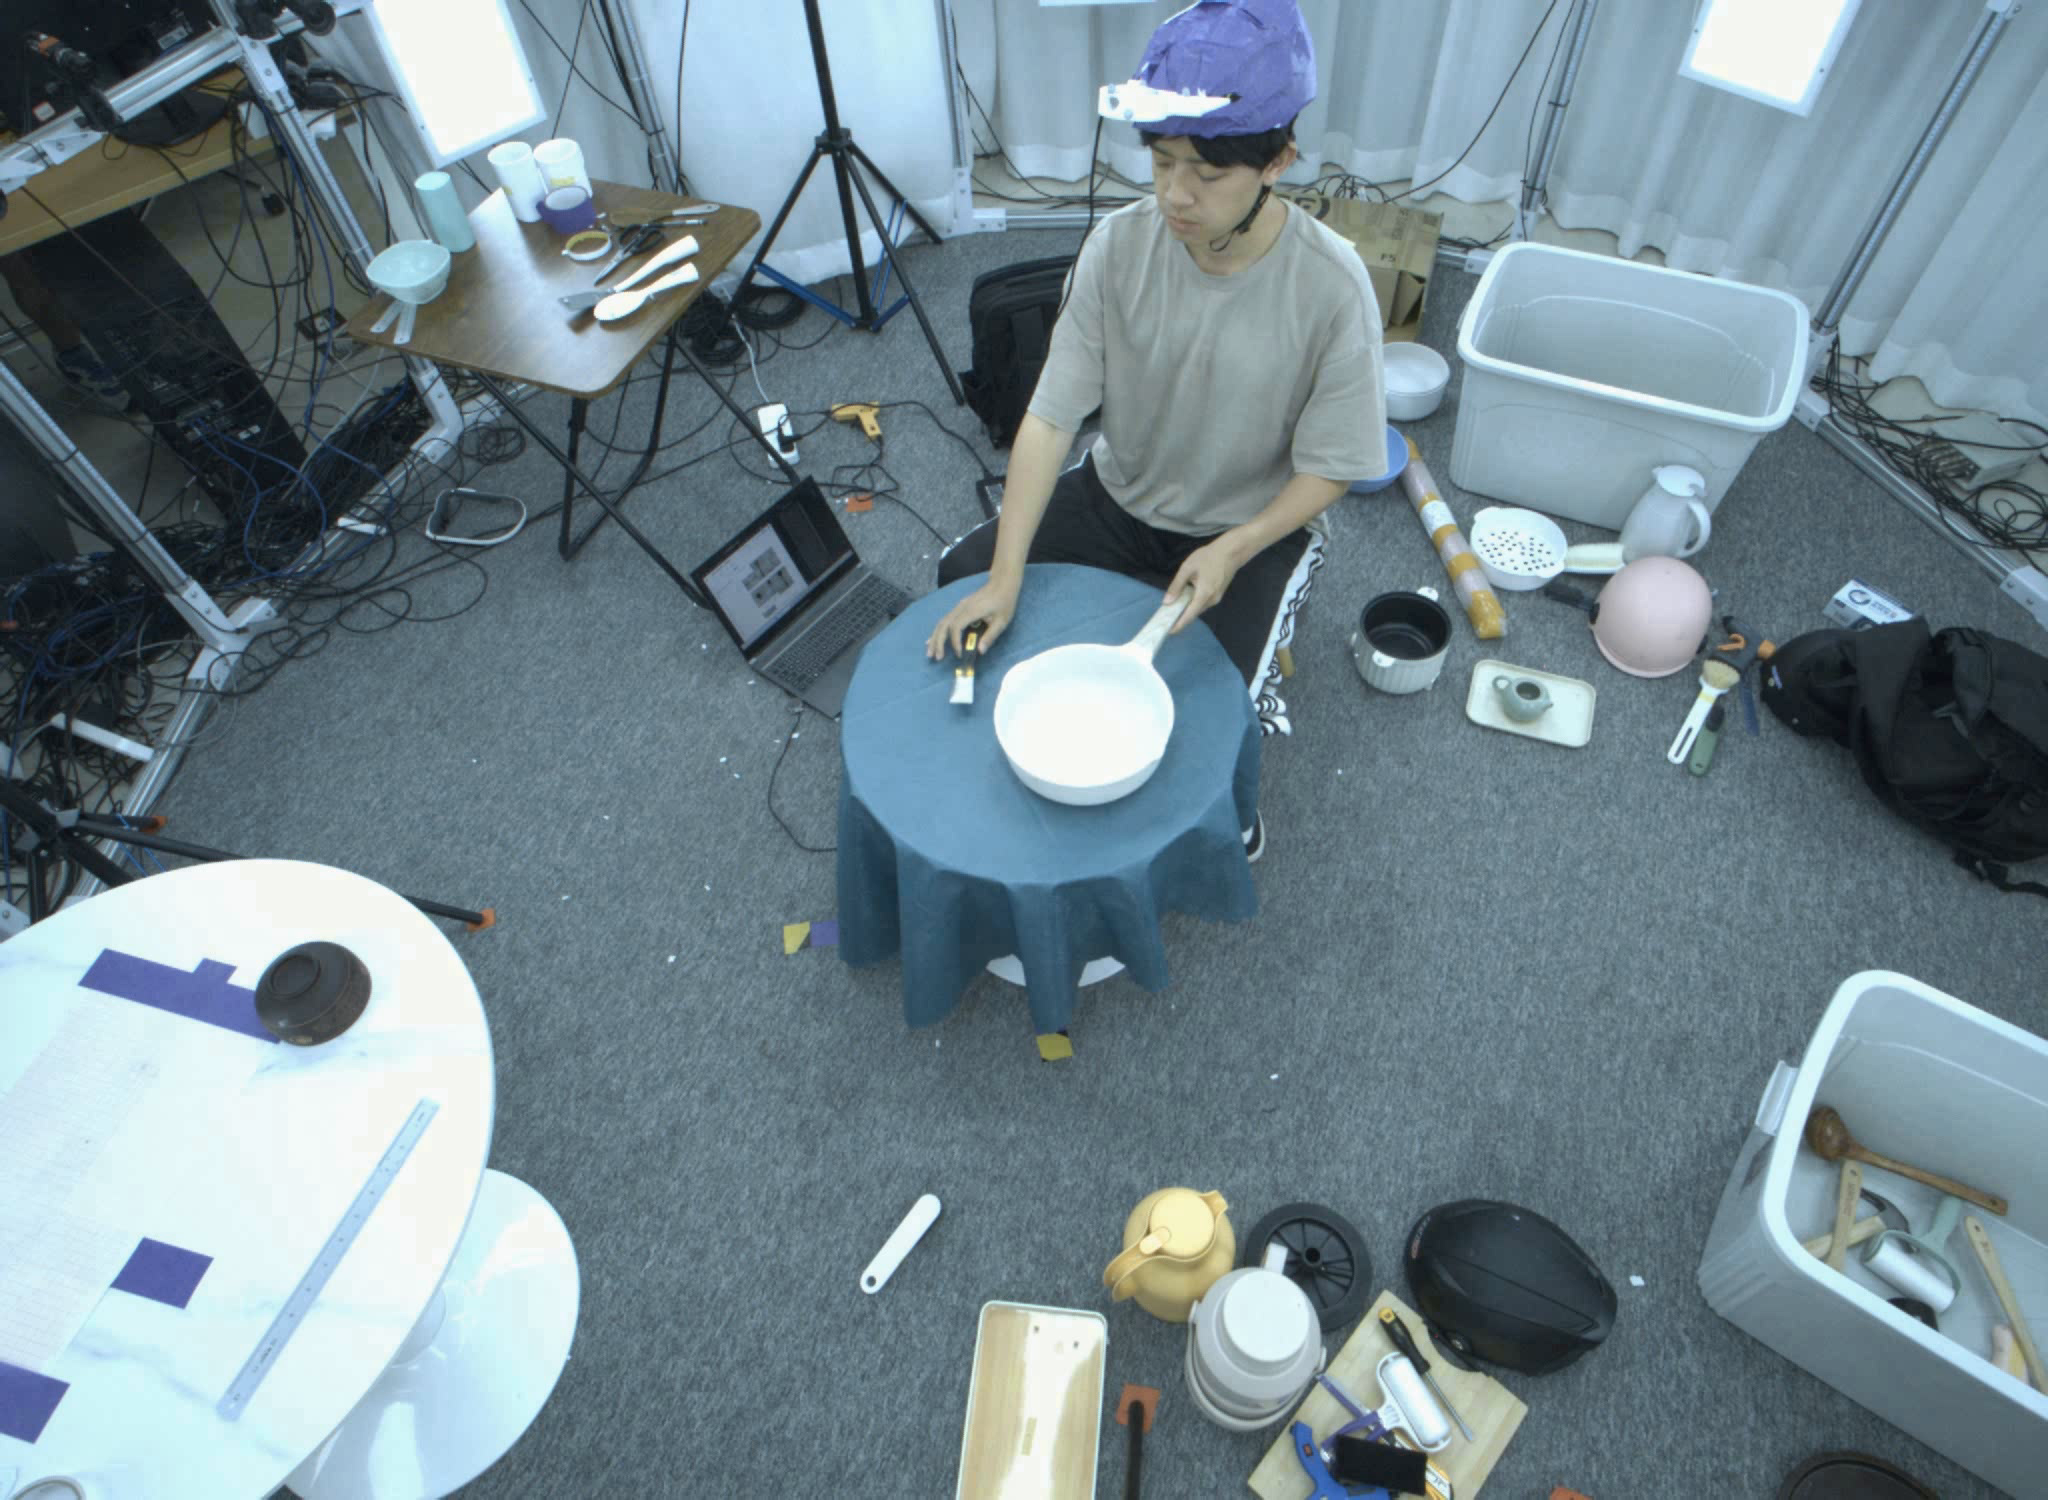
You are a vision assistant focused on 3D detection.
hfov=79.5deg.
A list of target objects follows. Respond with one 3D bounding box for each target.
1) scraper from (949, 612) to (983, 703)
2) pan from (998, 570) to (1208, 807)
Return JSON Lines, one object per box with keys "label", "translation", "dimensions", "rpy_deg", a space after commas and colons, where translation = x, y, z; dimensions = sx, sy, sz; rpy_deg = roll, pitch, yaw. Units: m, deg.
{"label": "scraper", "translation": [-0.085, -0.141, 1.846], "dimensions": [0.038, 0.015, 0.169], "rpy_deg": [-2, 56, 12]}
{"label": "pan", "translation": [0.146, -0.093, 1.787], "dimensions": [0.259, 0.103, 0.437], "rpy_deg": [29, 61, 24]}
